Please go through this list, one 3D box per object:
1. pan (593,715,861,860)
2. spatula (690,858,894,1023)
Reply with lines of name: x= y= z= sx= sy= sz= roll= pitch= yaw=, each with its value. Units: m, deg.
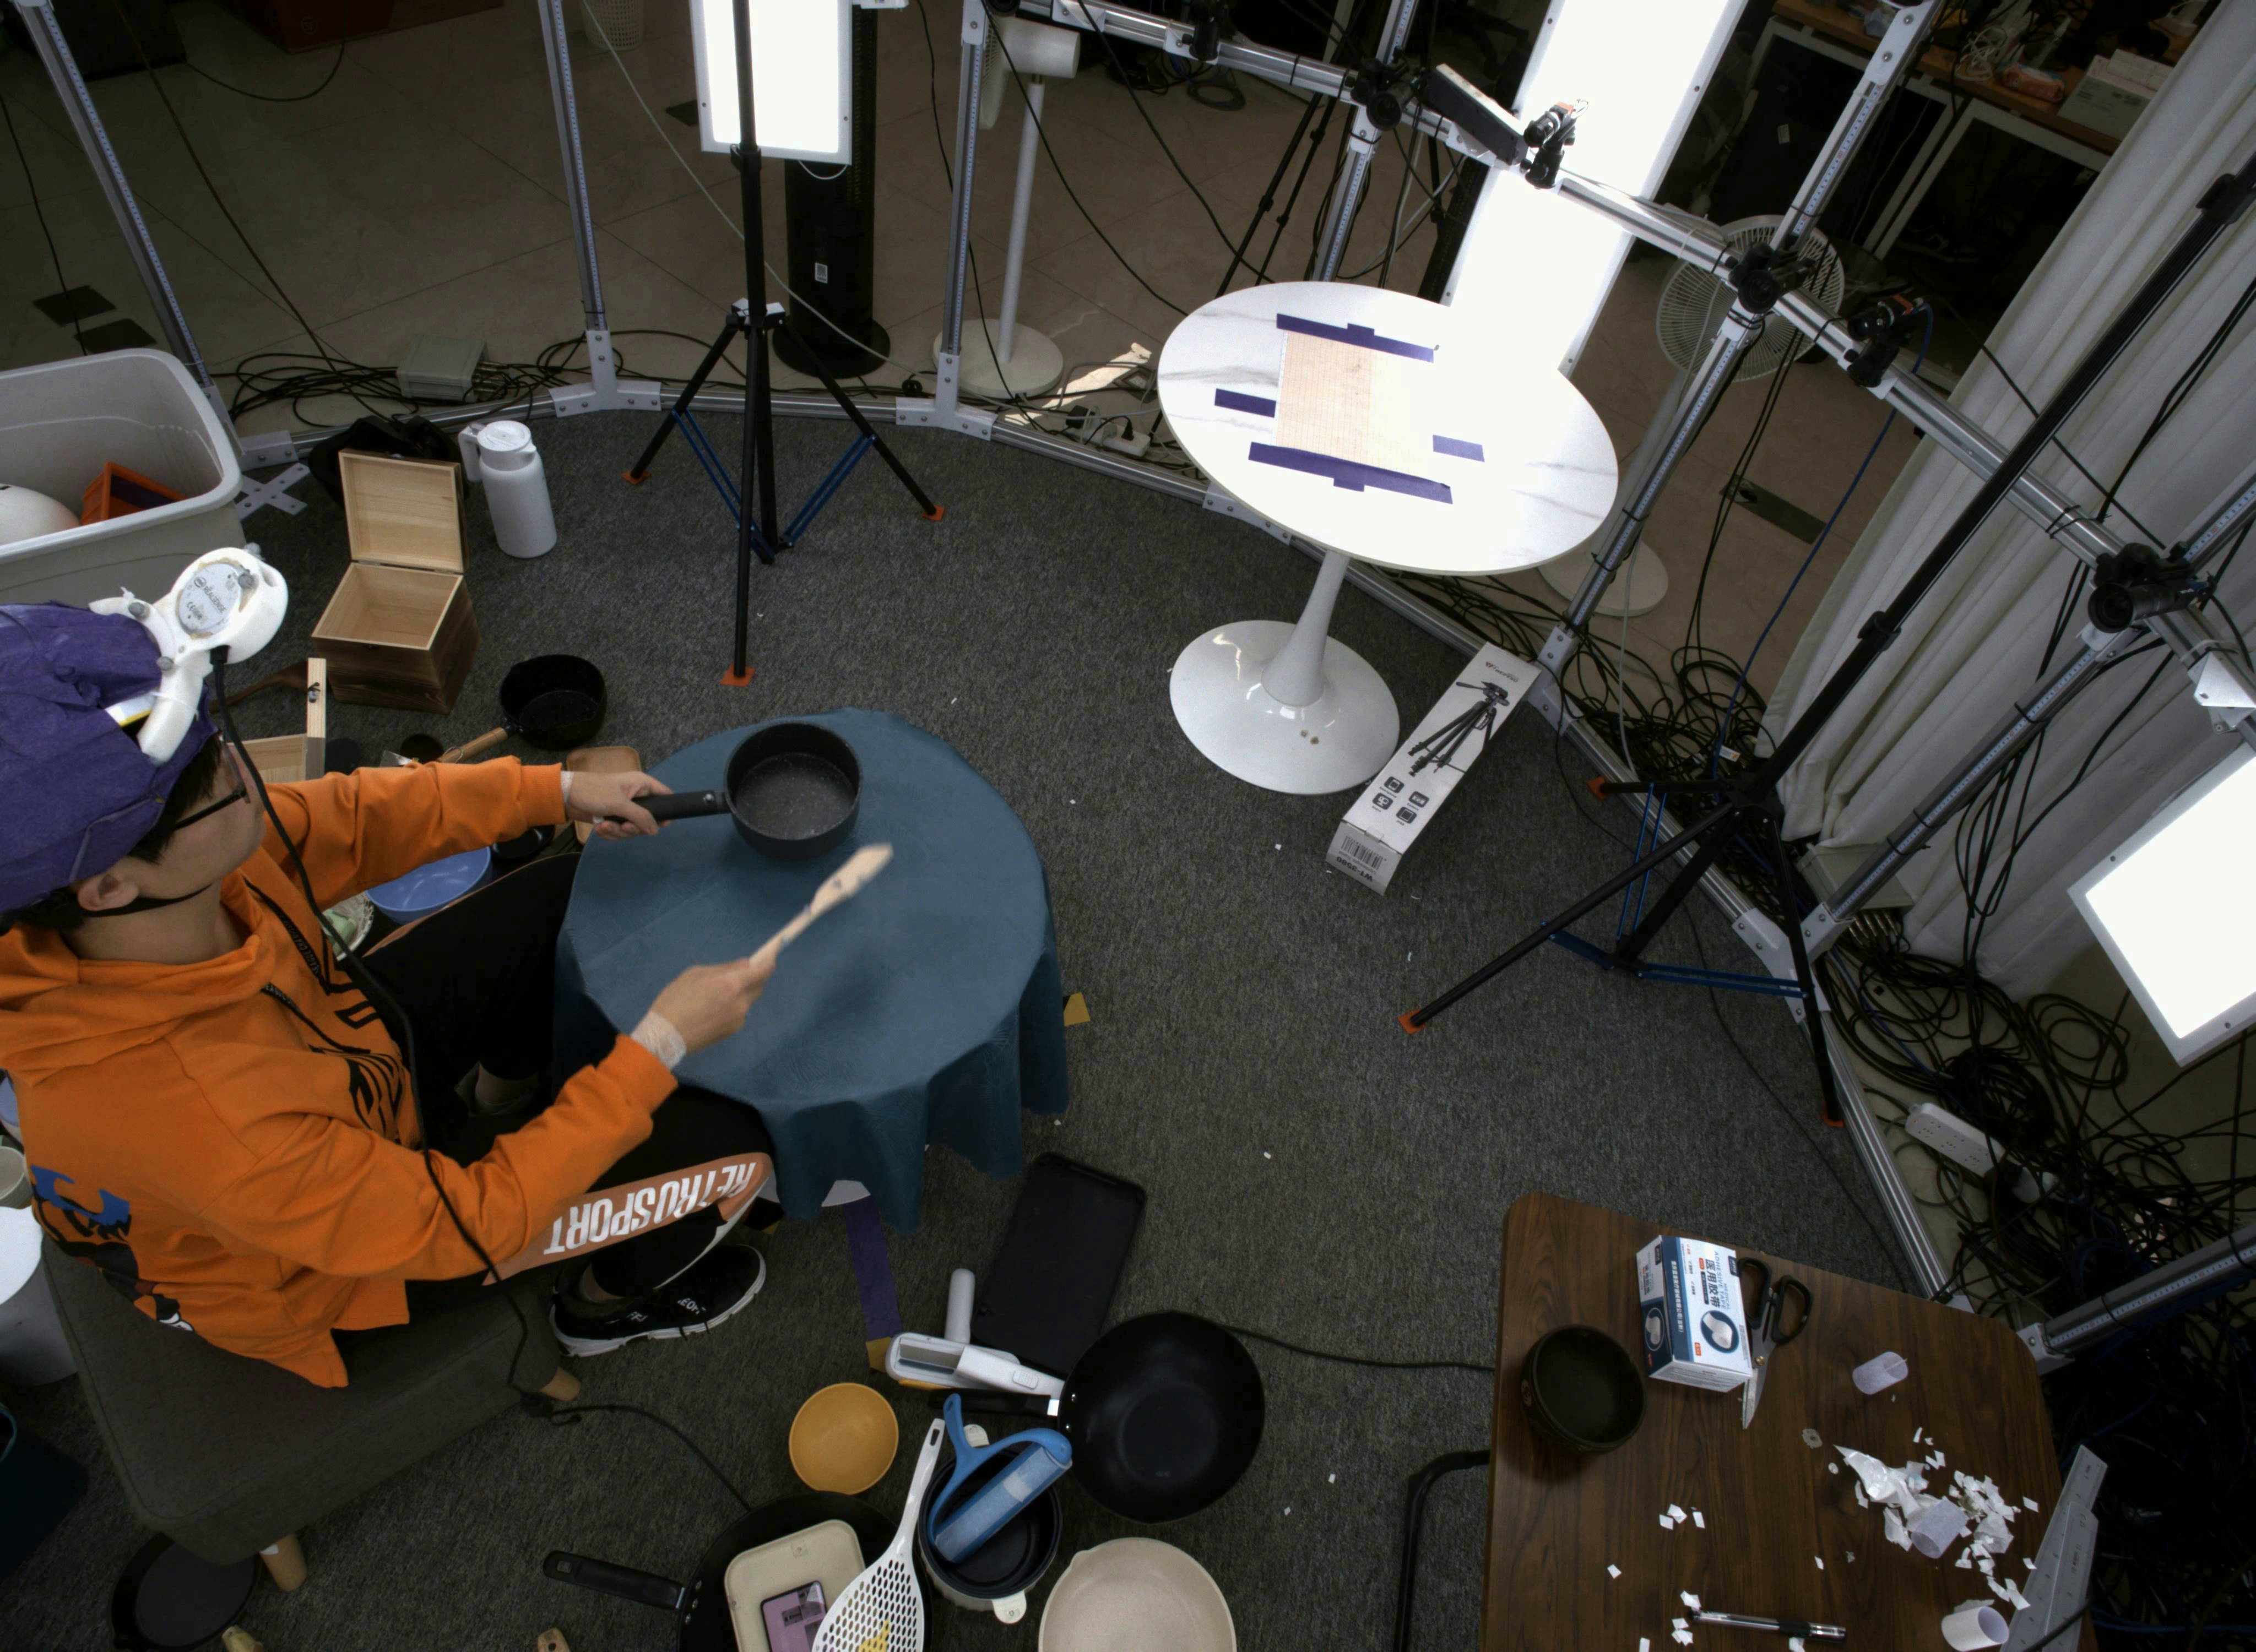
pan: x=-0.499 y=-0.034 z=1.609 sx=0.330 sy=0.087 sz=0.169 roll=-9 pitch=65 yaw=-20
spatula: x=-0.377 y=0.122 z=1.454 sx=0.070 sy=0.011 sz=0.293 roll=4 pitch=37 yaw=41
